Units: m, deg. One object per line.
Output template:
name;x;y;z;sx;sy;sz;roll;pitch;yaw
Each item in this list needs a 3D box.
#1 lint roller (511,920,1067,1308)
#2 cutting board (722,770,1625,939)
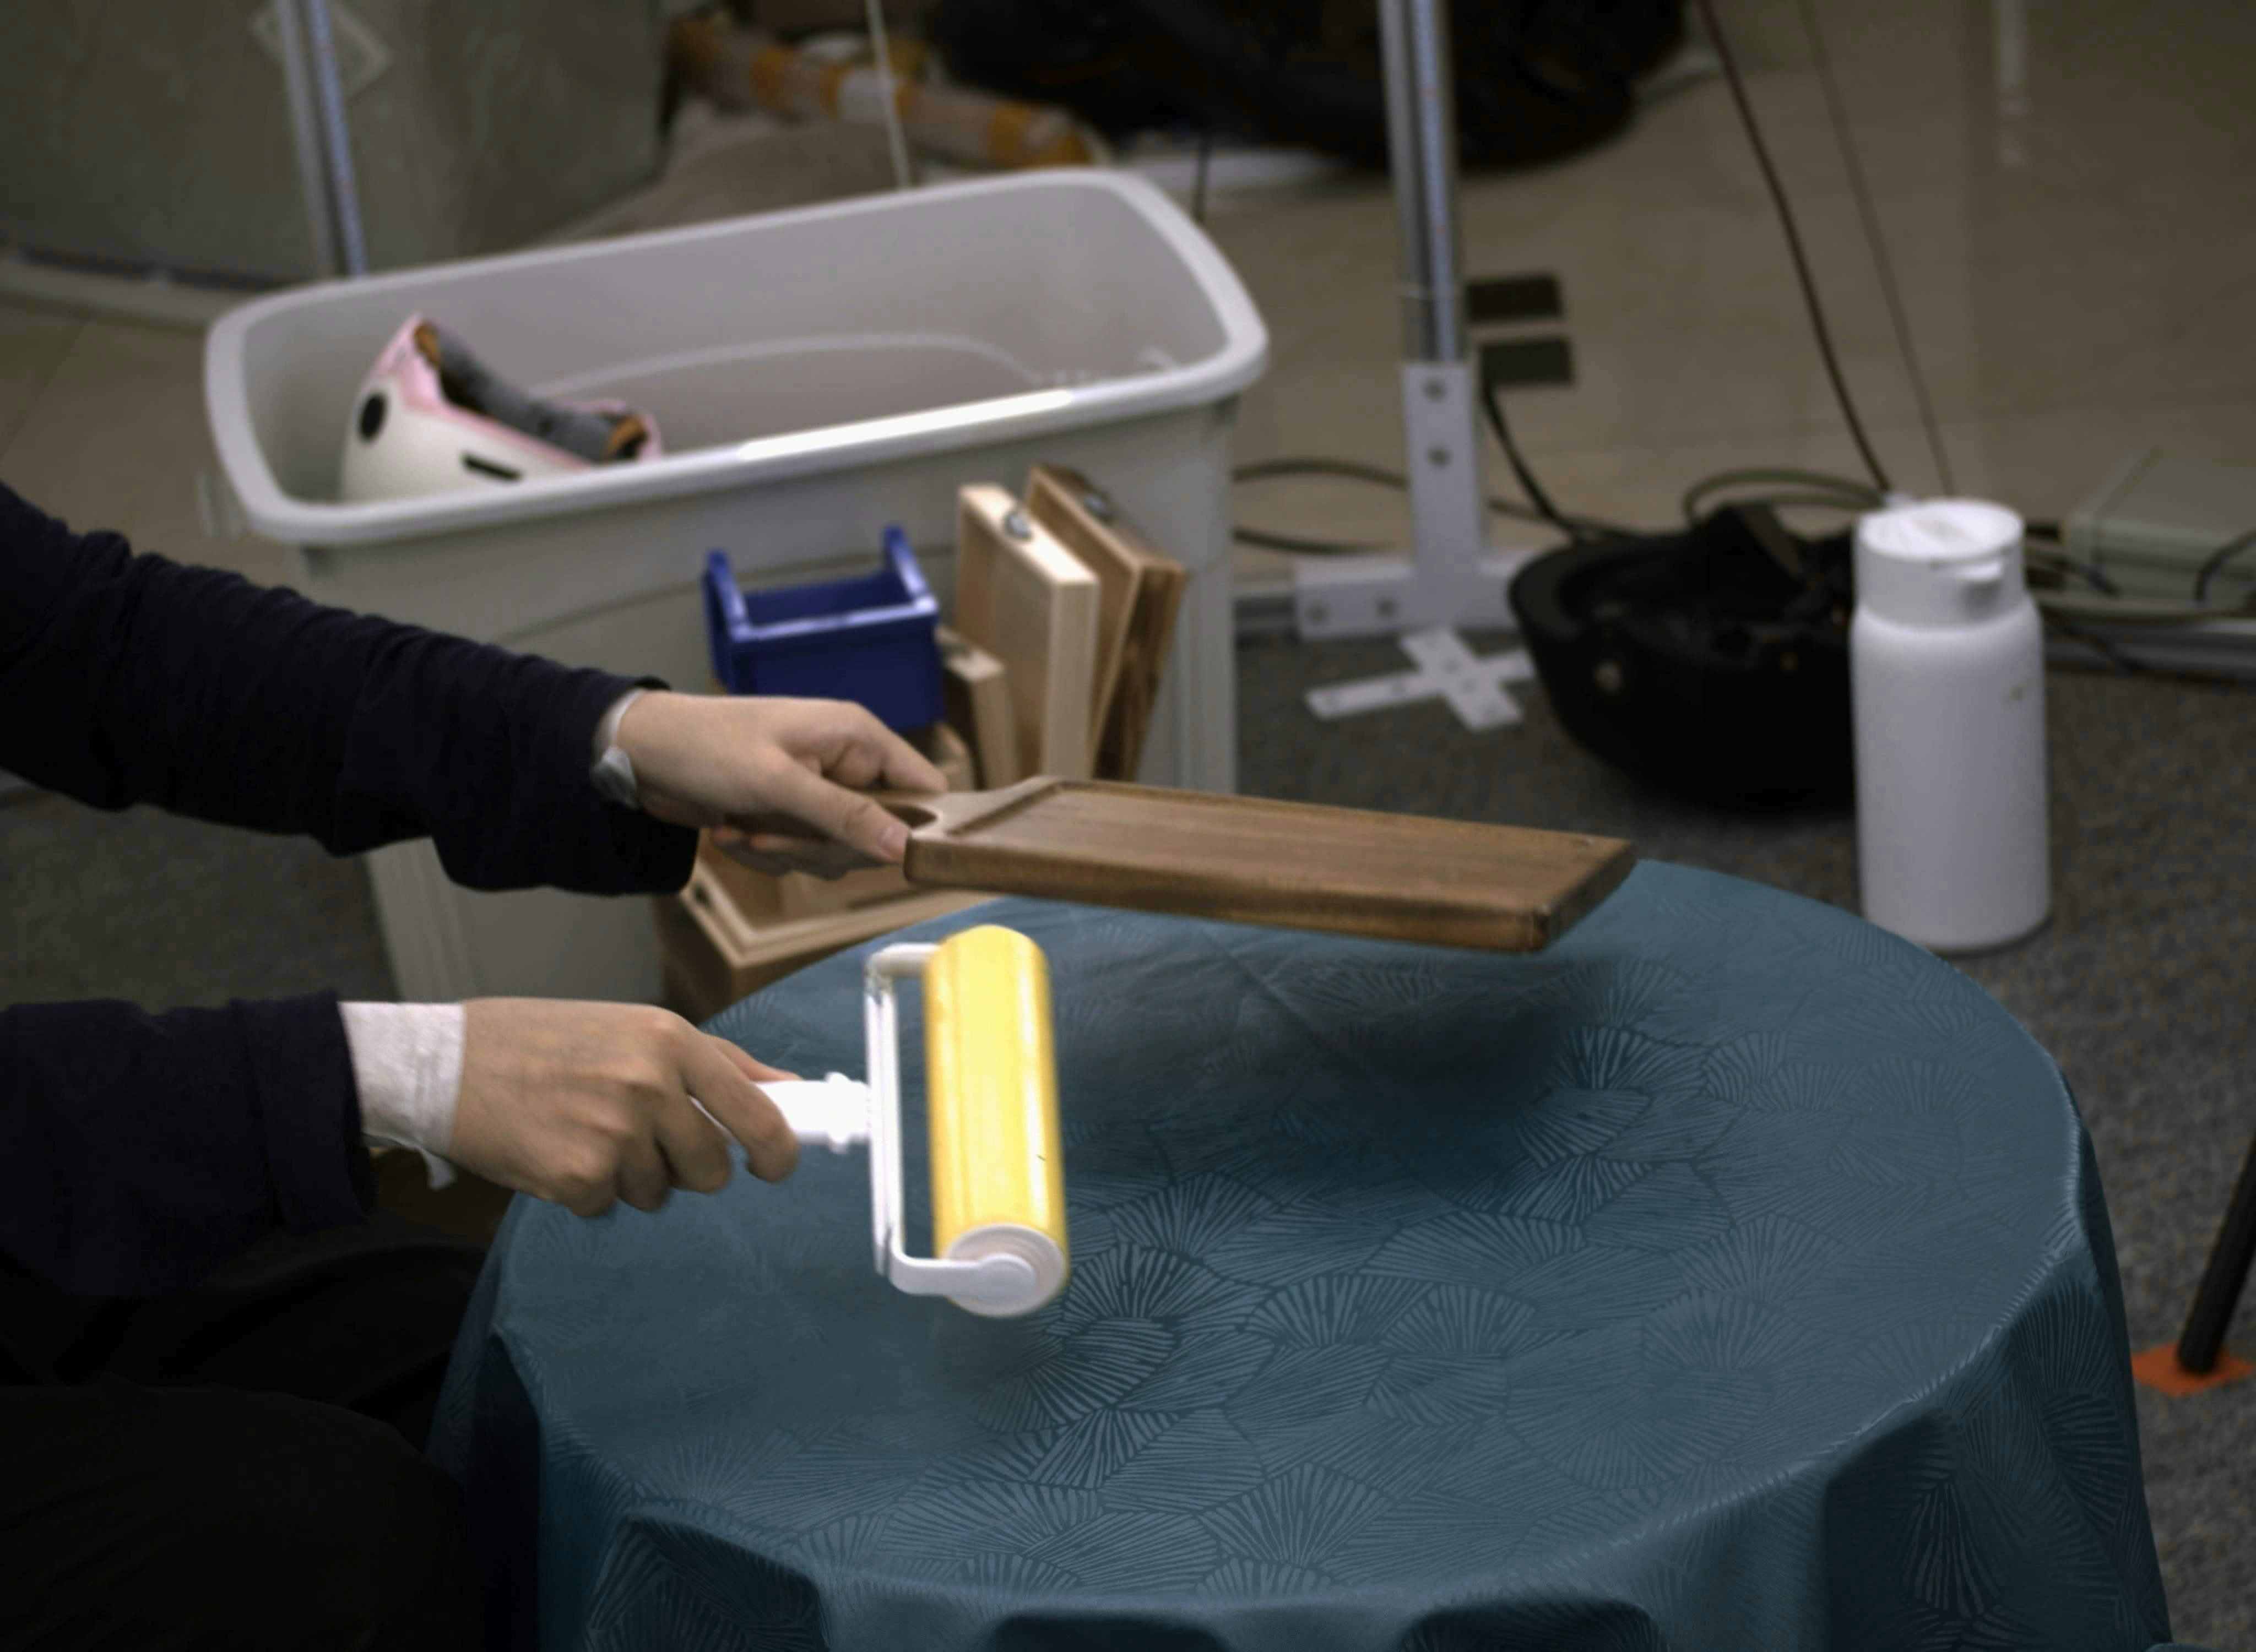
lint roller;-0.123;0.096;2.033;0.192;0.052;0.171;7;39;-13
cutting board;0.009;0.005;2.227;0.351;0.023;0.200;6;8;14
